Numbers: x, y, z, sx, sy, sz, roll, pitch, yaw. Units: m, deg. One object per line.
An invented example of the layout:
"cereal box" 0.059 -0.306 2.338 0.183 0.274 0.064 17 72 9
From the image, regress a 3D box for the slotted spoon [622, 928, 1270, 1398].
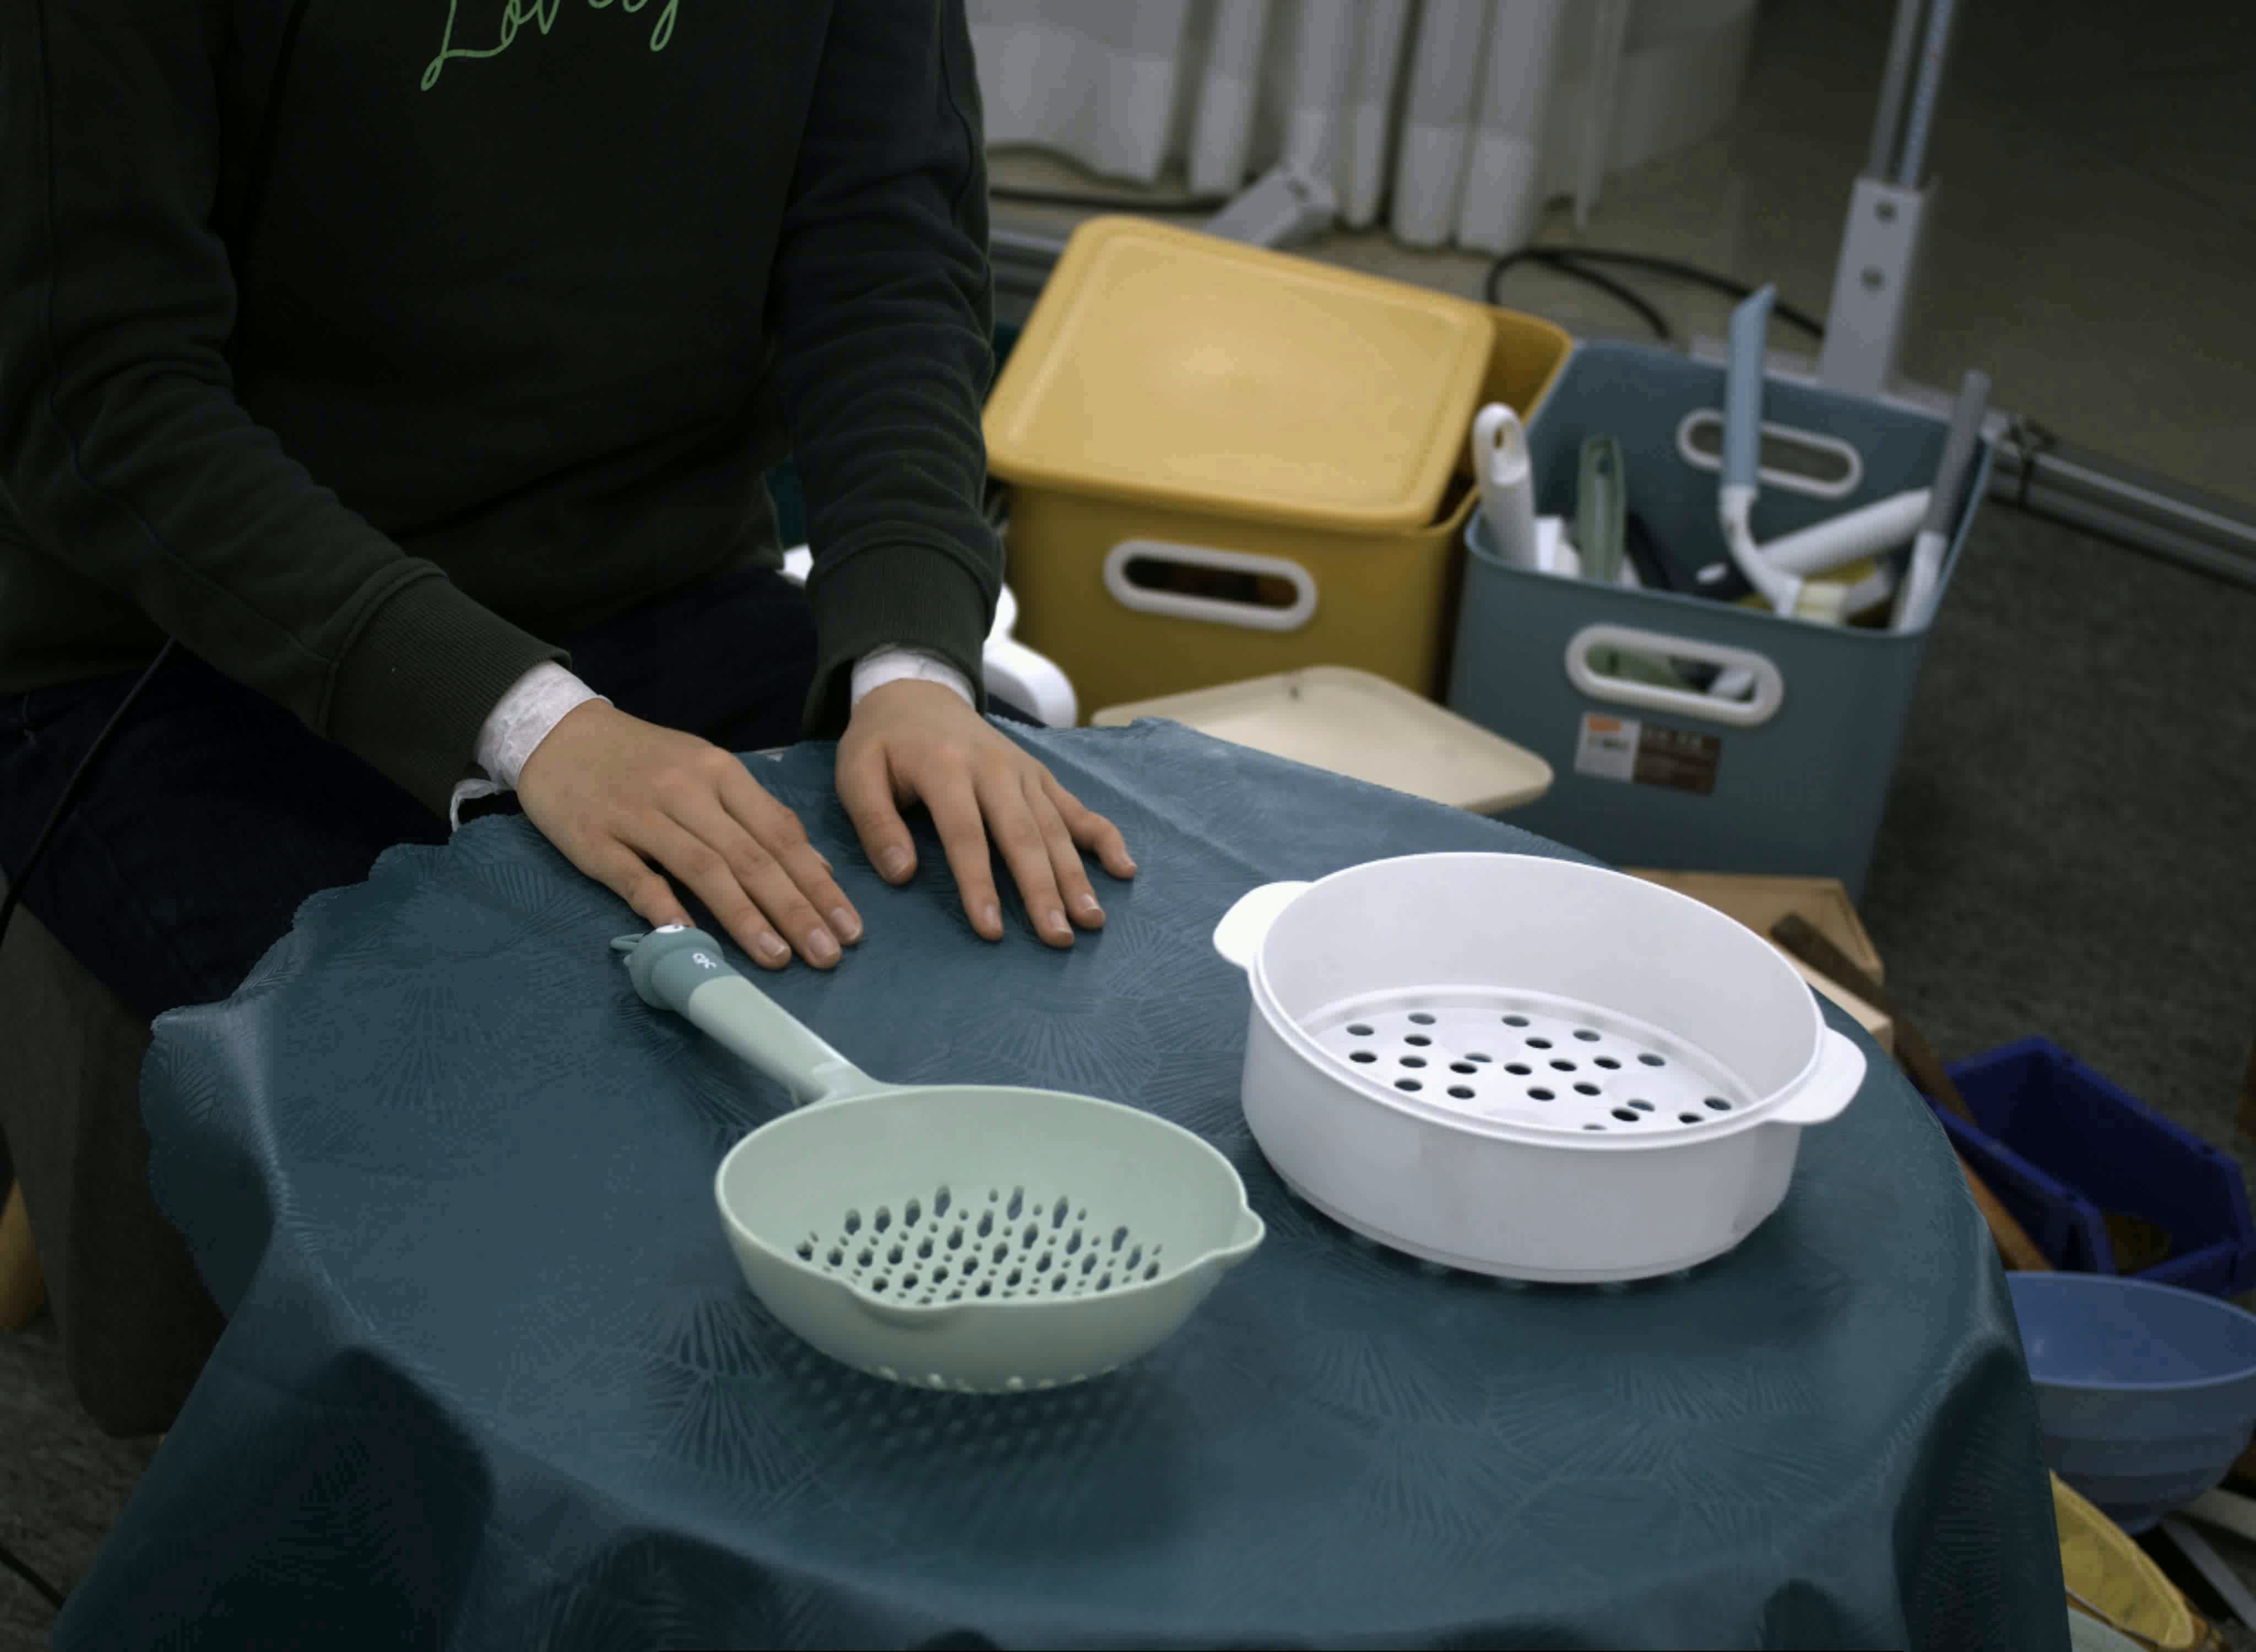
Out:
"slotted spoon" -0.092 0.095 1.763 0.168 0.075 0.362 -8 30 -27

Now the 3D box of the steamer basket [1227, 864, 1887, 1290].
"steamer basket" 0.143 0.087 1.834 0.231 0.069 0.202 15 27 17
